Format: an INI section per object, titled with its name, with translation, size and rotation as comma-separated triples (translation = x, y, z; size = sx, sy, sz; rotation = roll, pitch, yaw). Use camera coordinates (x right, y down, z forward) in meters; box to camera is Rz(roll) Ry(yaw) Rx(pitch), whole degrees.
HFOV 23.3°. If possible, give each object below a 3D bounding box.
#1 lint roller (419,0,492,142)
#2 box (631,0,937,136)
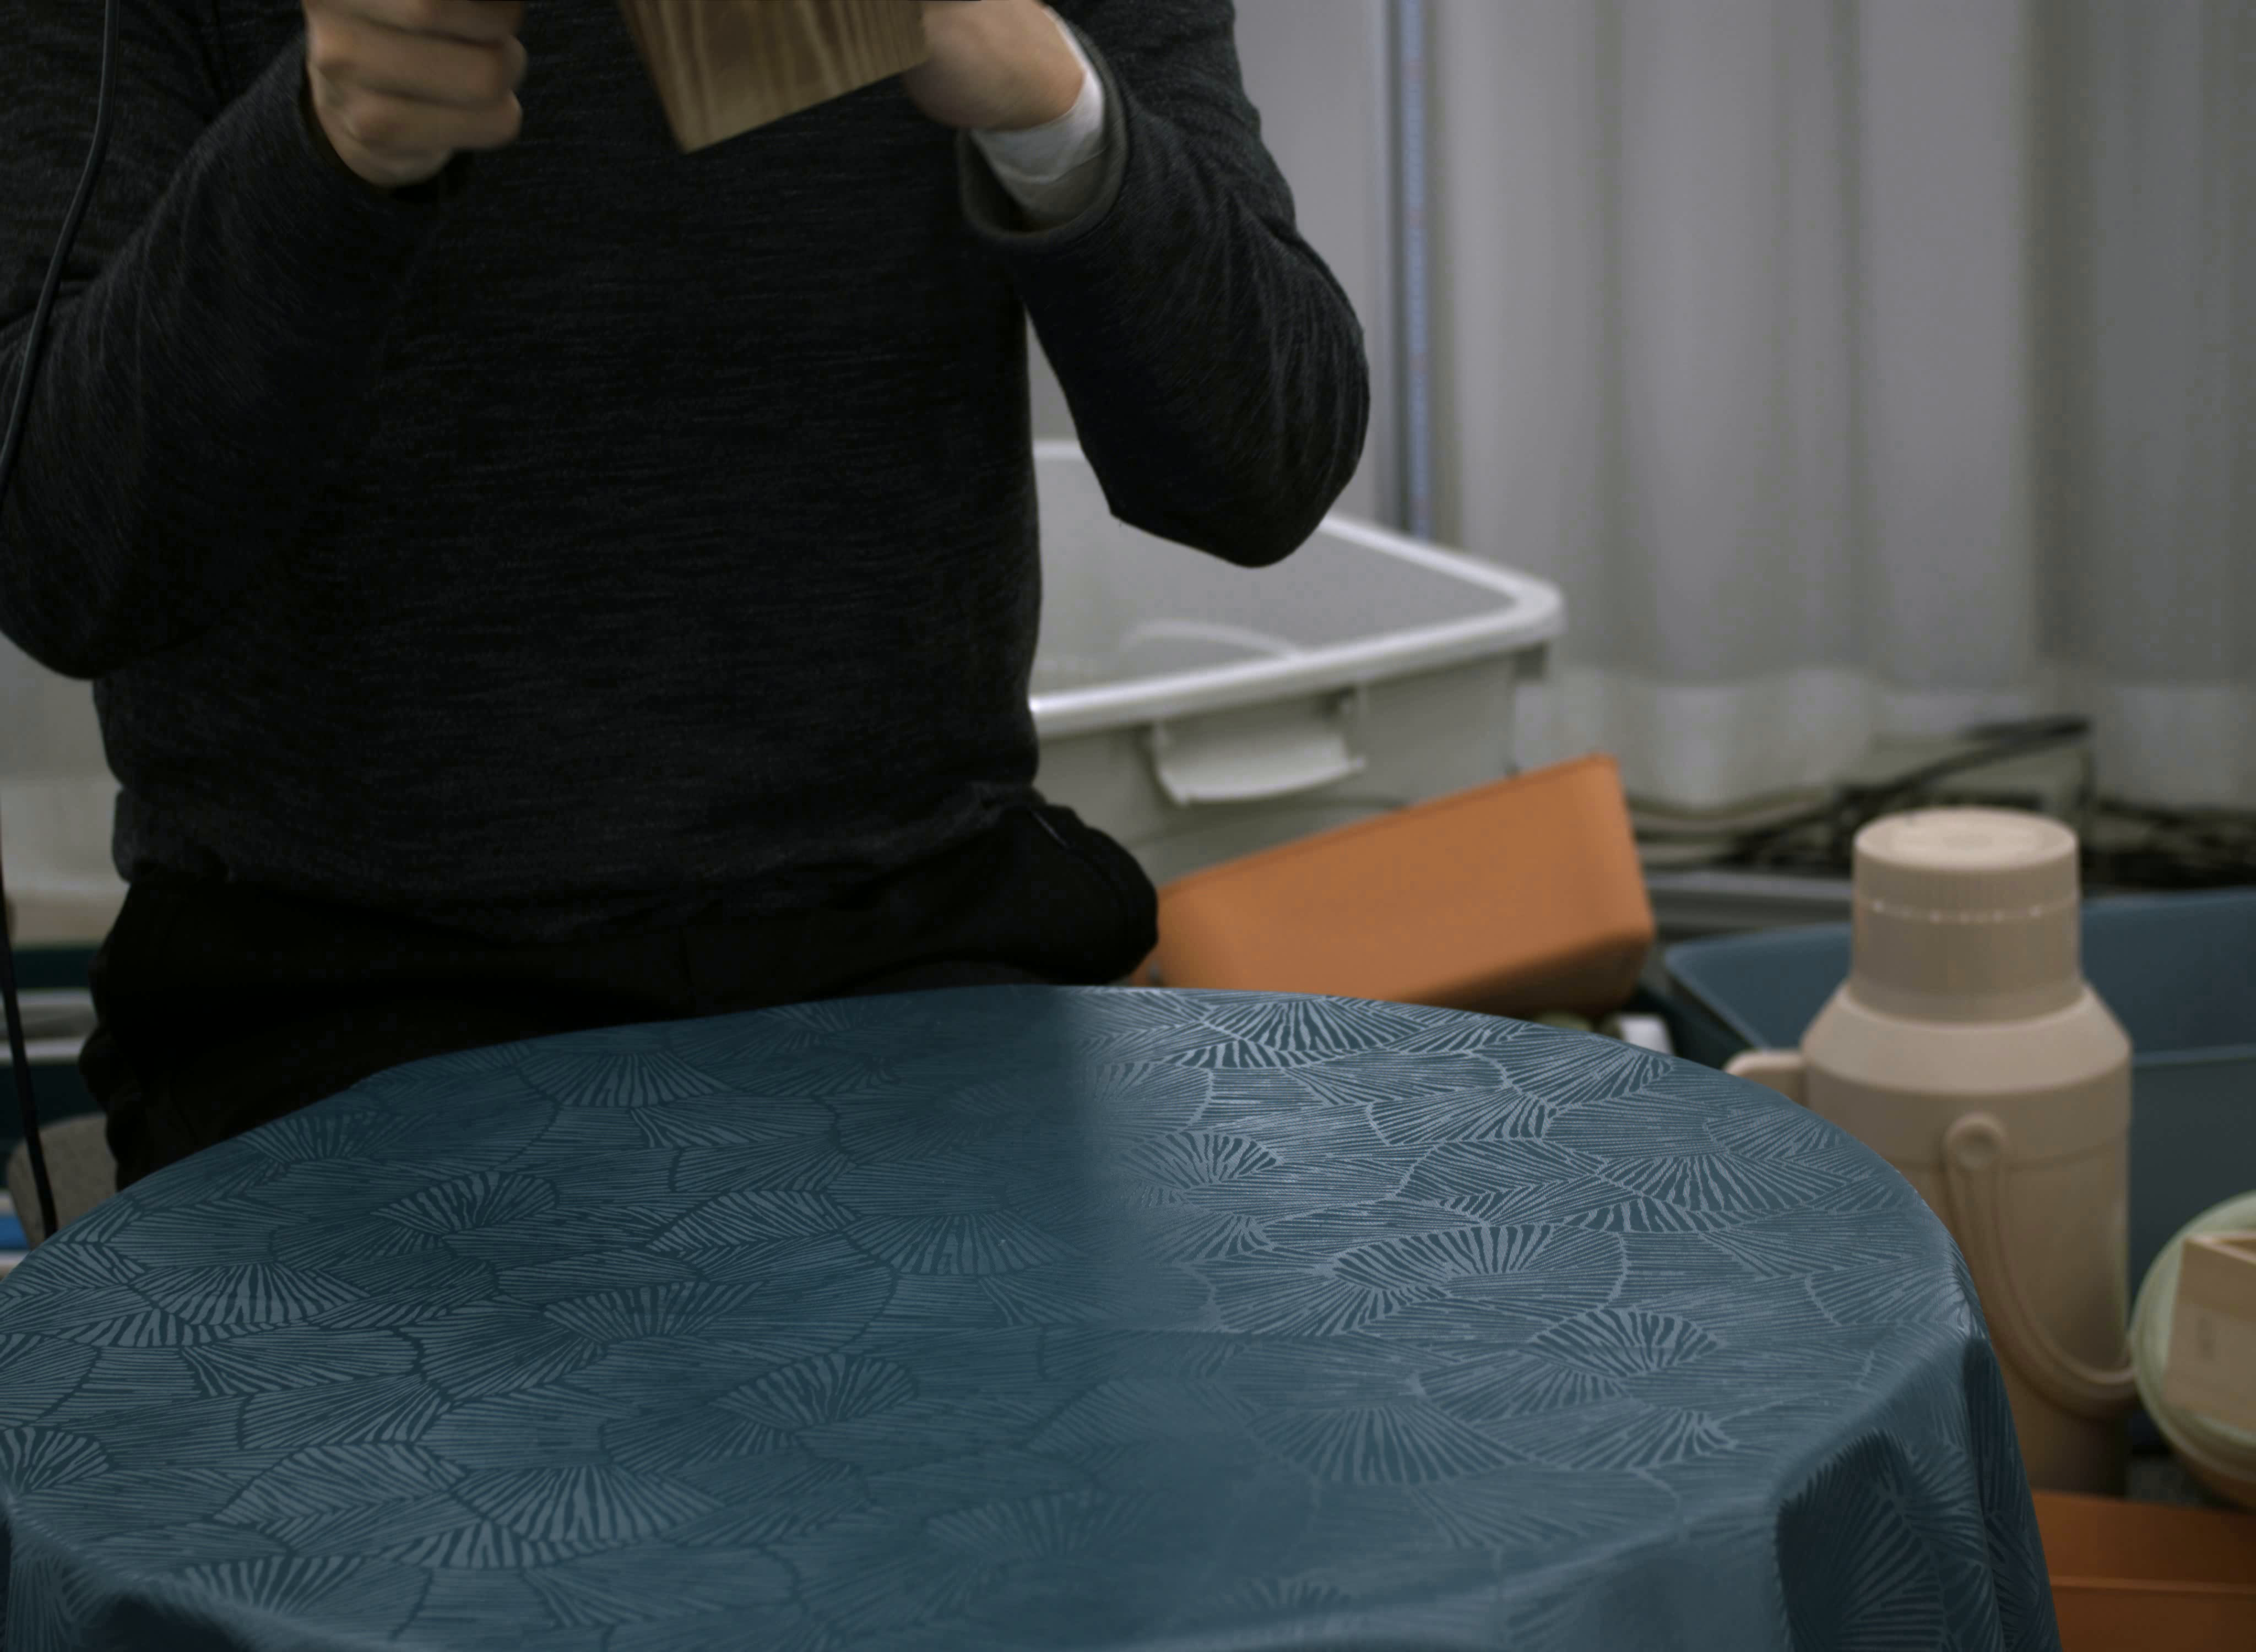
[lint roller]
translation = -0.200, -0.262, 1.595
size = 0.050, 0.134, 0.179
rotation = -10, -29, -26
[box]
translation = -0.116, -0.301, 1.538
size = 0.080, 0.109, 0.209
rotation = -21, -22, -6
